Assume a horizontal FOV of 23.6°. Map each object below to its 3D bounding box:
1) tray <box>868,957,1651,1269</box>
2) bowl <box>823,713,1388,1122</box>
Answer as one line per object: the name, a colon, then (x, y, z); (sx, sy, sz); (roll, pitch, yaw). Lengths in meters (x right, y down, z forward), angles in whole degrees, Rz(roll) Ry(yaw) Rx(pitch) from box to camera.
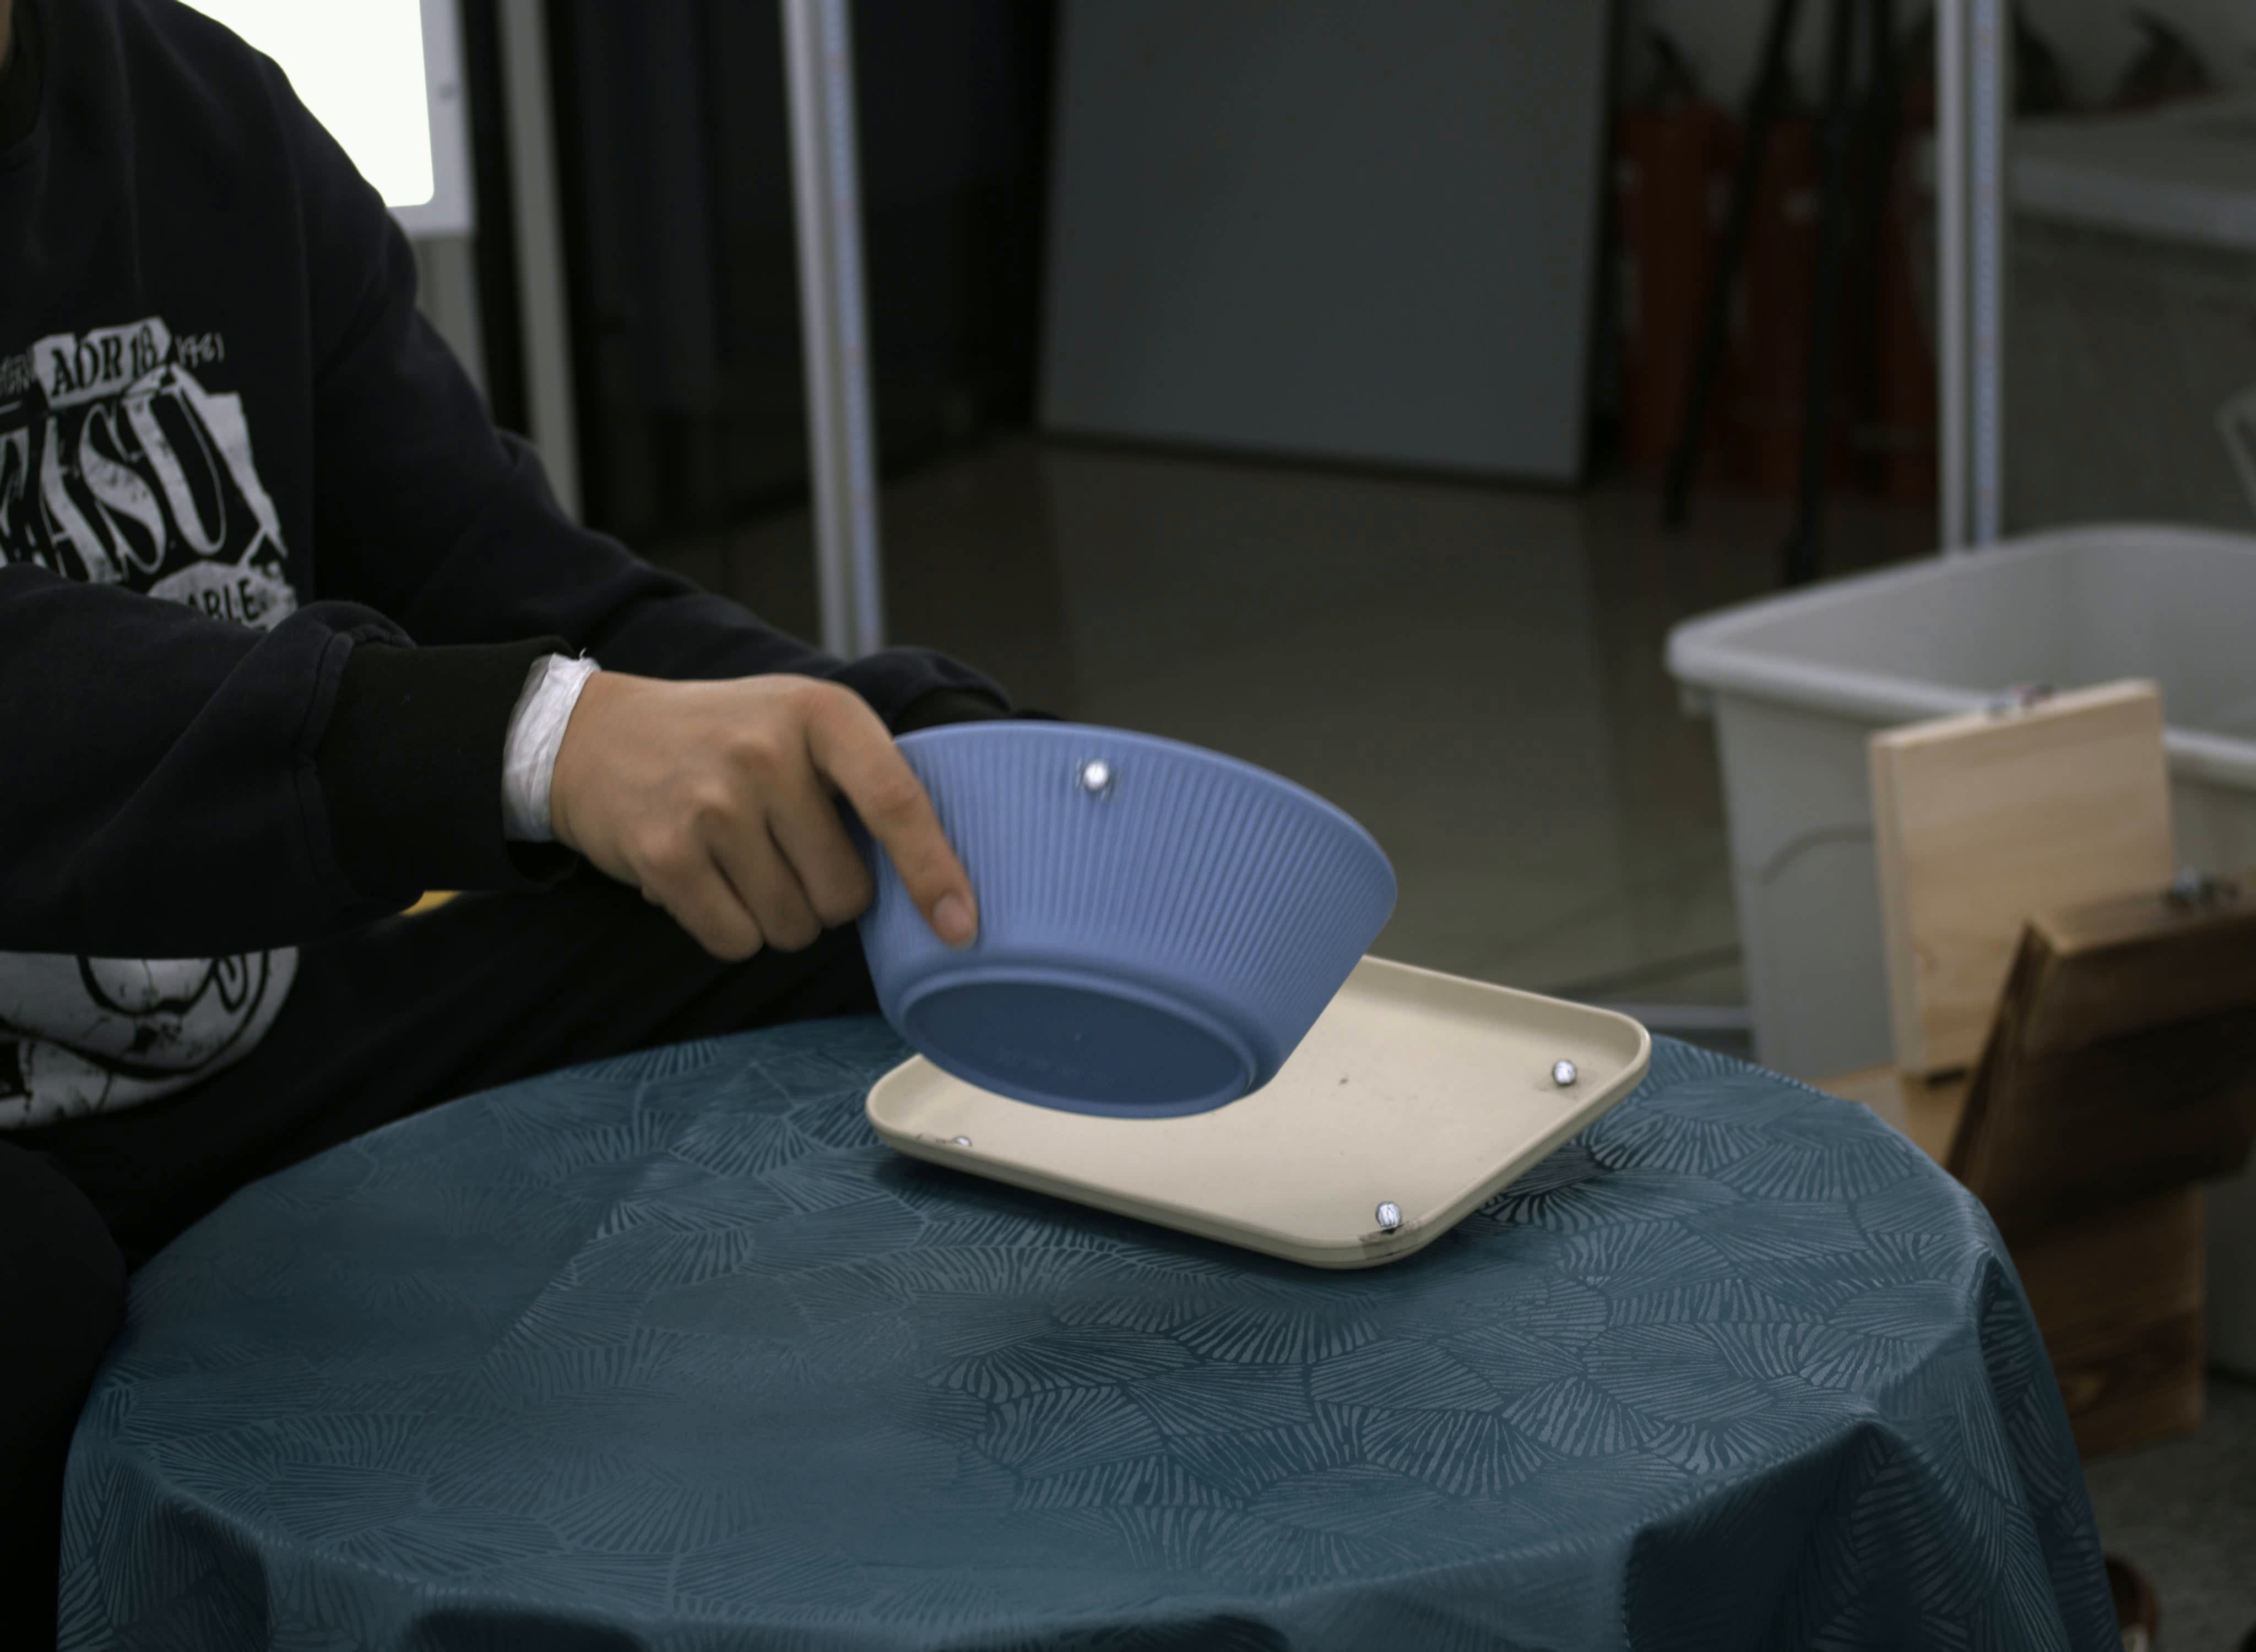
tray: (0.043, 0.088, 1.788); (0.242, 0.017, 0.168); (11, 31, 42)
bowl: (-0.012, 0.036, 1.618); (0.174, 0.071, 0.176); (10, -23, 4)
